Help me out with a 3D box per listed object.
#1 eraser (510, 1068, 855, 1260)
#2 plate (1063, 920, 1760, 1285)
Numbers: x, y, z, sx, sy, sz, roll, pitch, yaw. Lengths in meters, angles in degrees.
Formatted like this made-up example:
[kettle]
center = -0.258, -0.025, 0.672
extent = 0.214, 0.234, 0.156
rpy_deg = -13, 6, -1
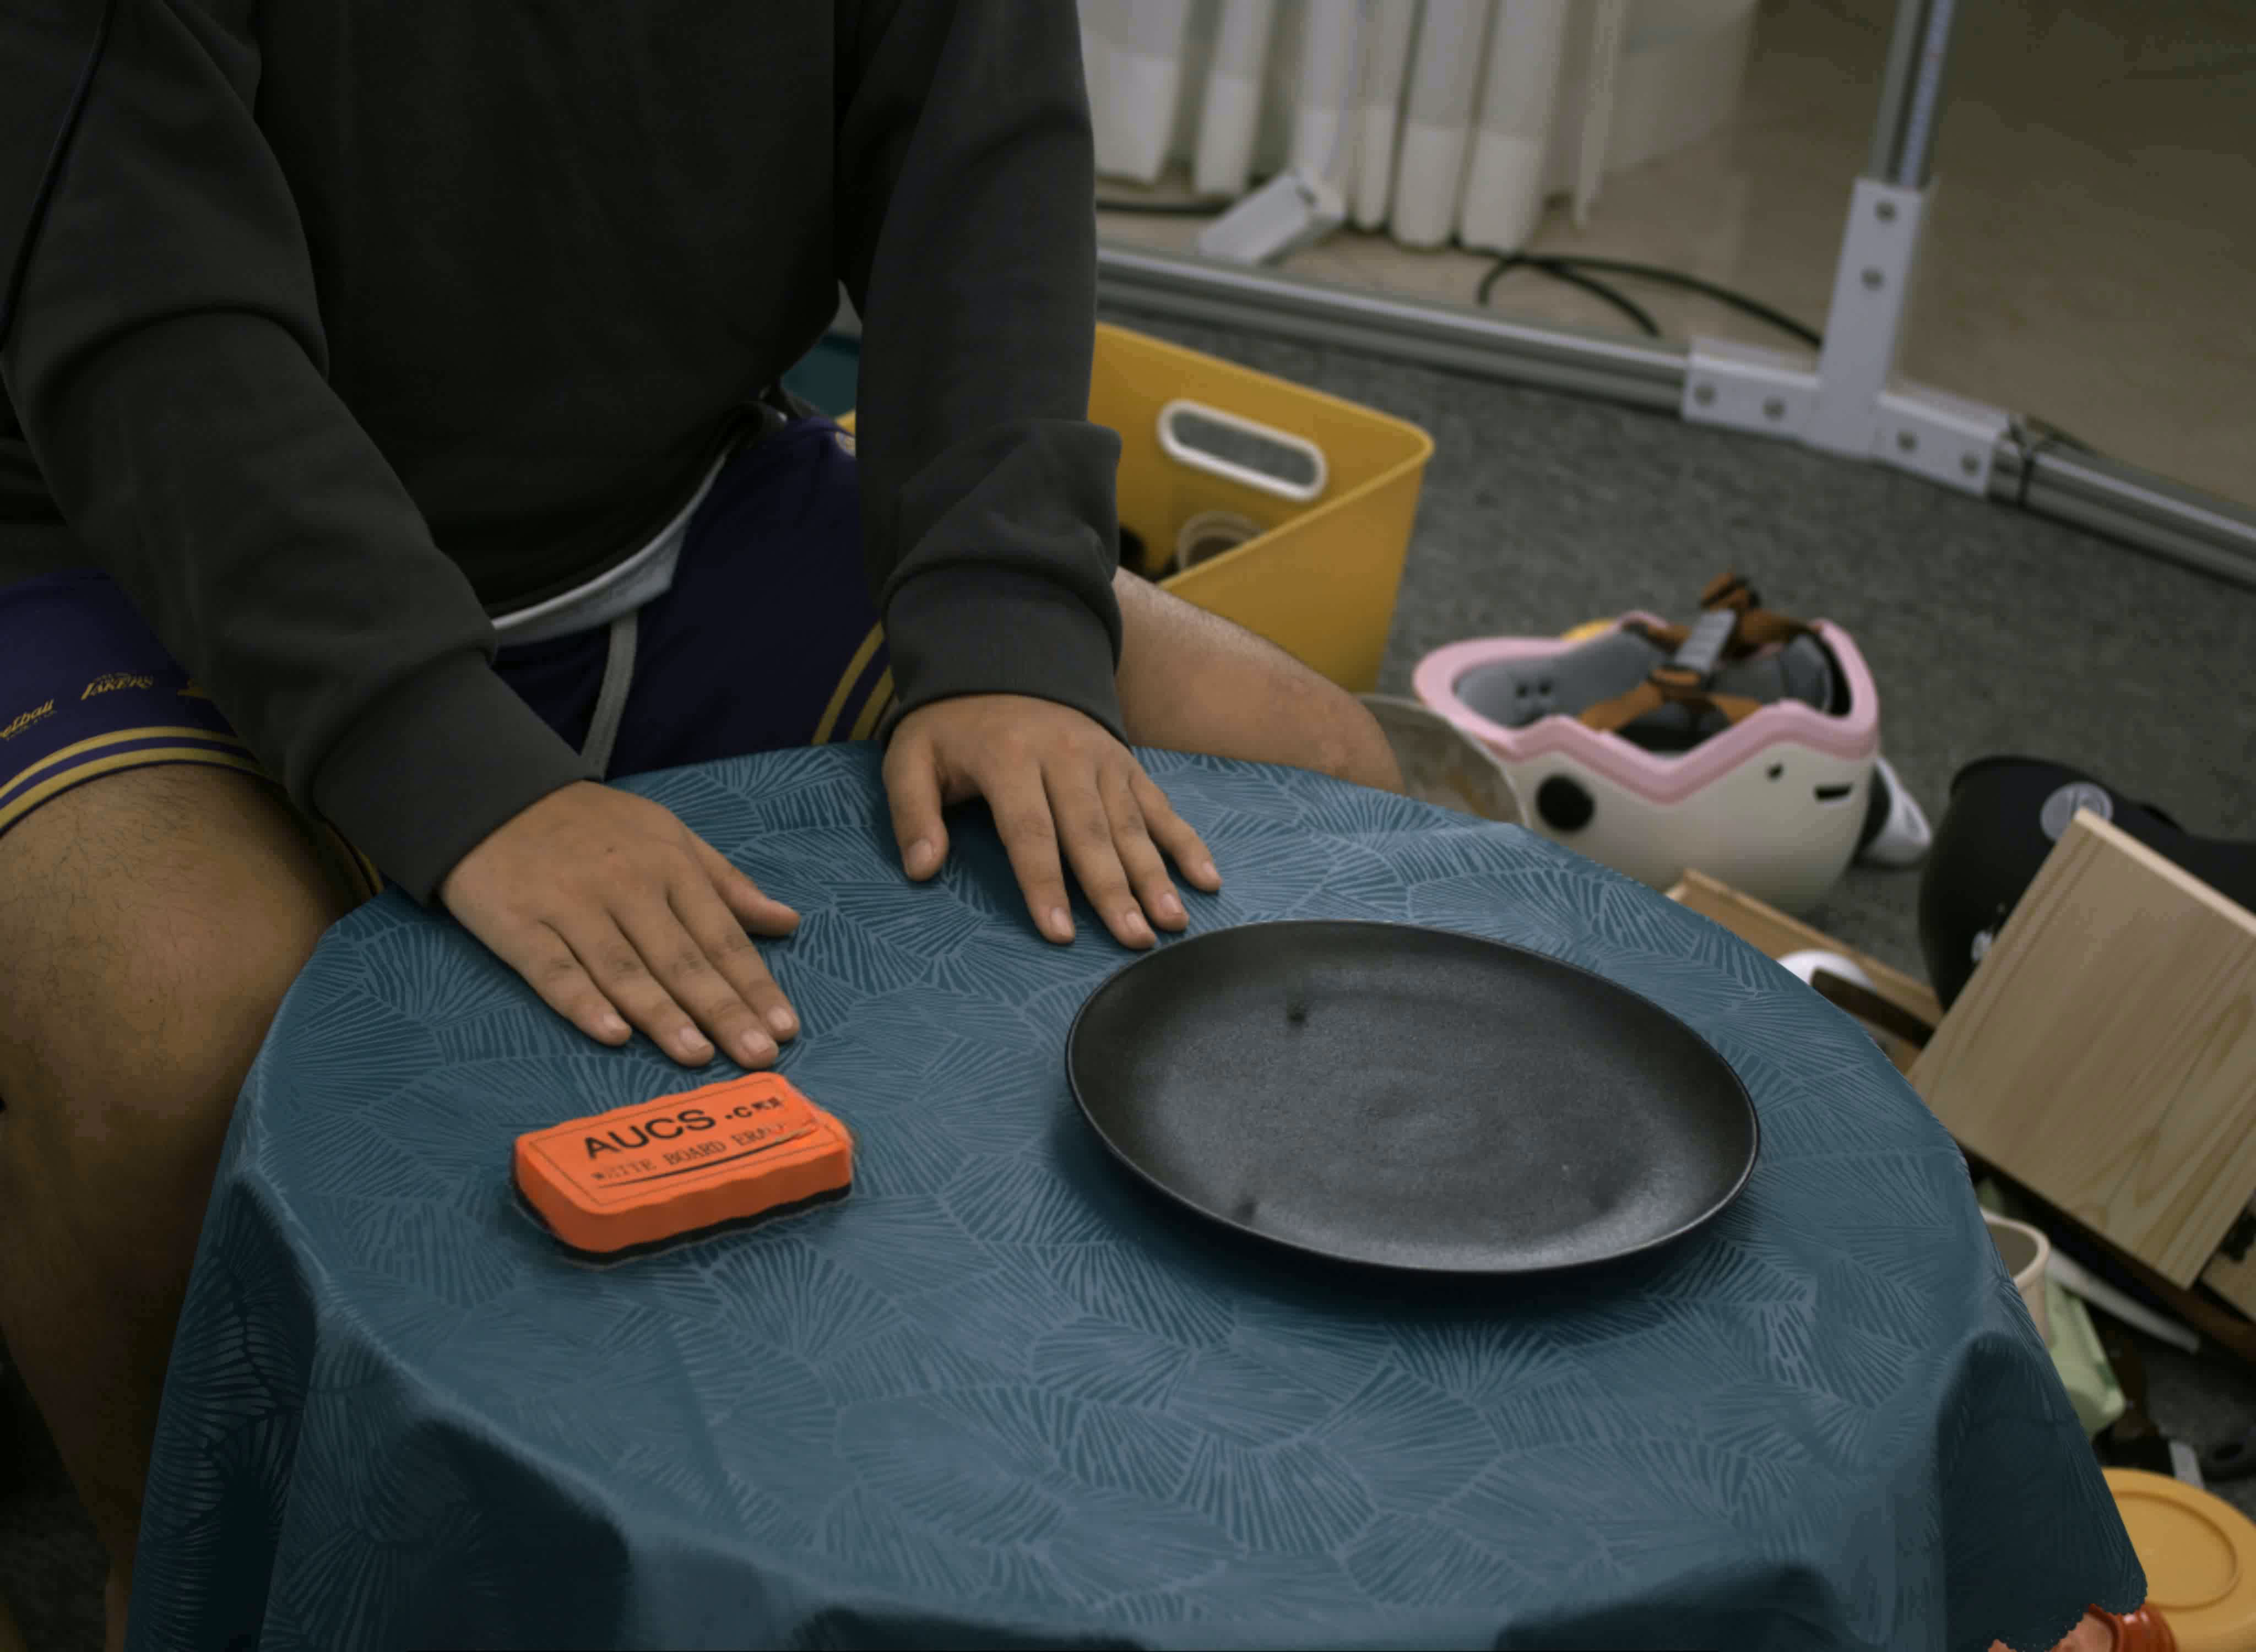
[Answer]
[eraser]
center = -0.147, 0.111, 1.760
extent = 0.107, 0.023, 0.059
rpy_deg = -12, 33, -35
[plate]
center = 0.097, 0.099, 1.845
extent = 0.243, 0.023, 0.246
rpy_deg = 5, 27, -3
